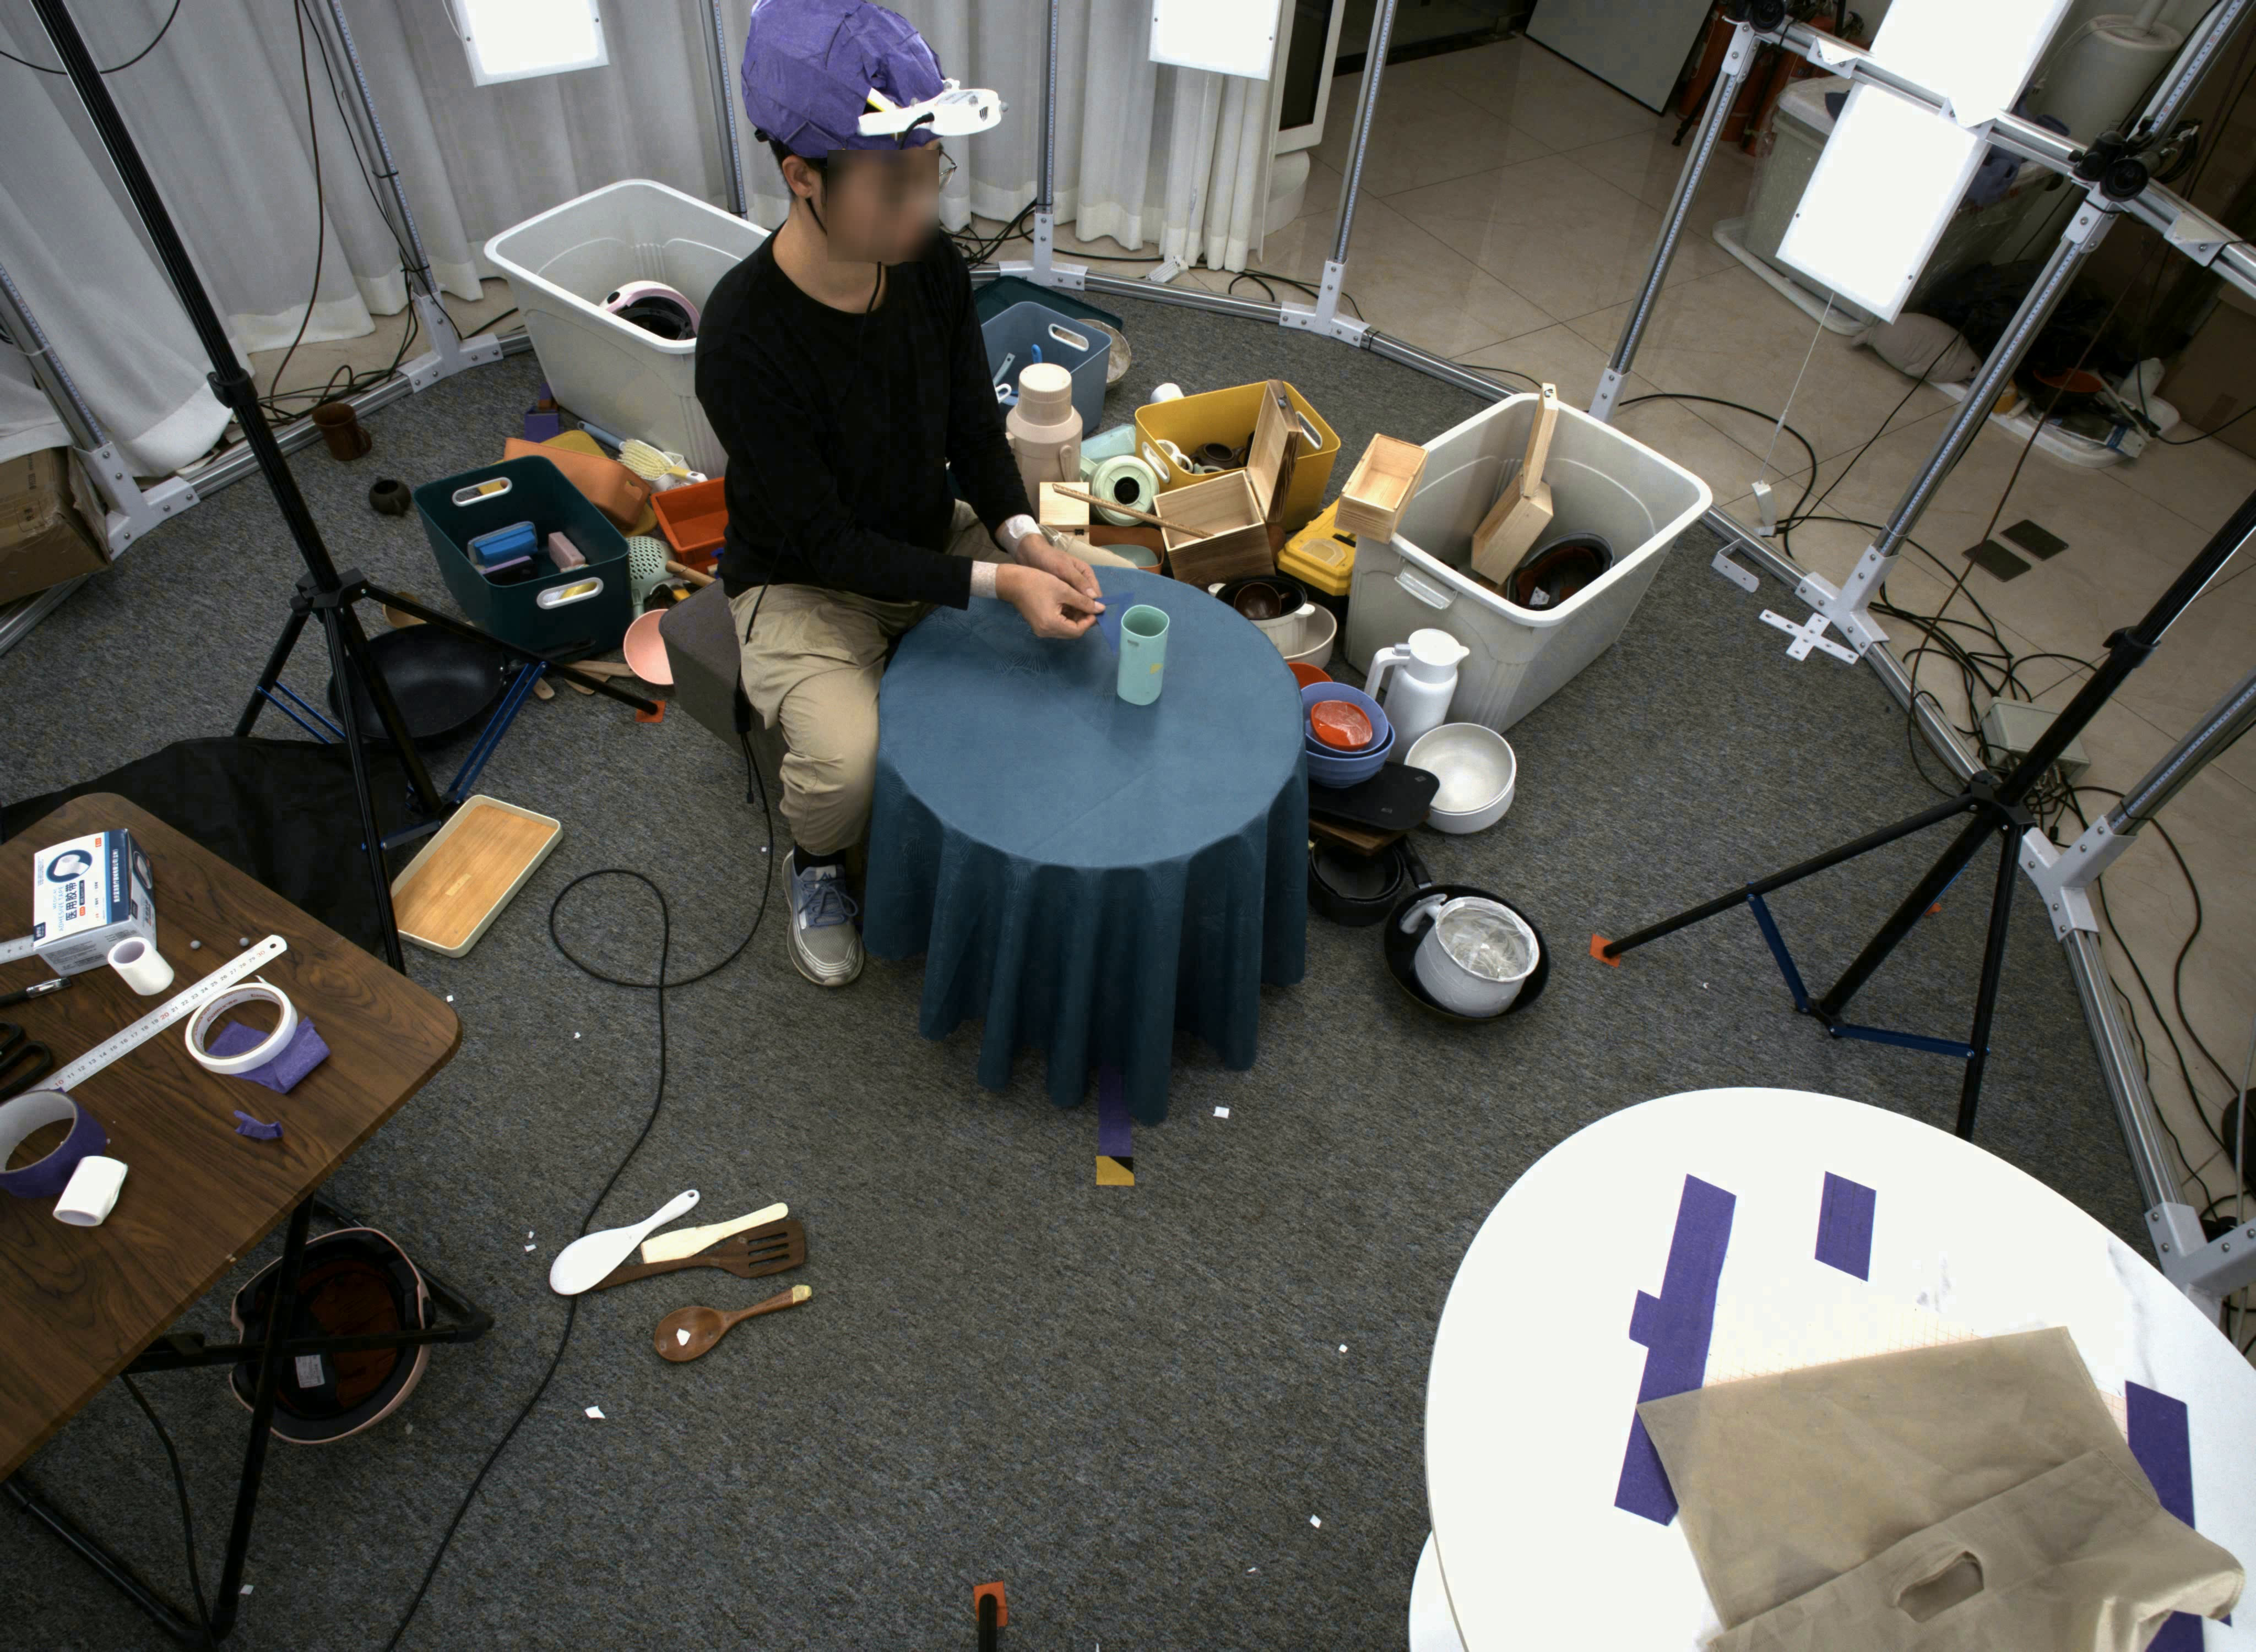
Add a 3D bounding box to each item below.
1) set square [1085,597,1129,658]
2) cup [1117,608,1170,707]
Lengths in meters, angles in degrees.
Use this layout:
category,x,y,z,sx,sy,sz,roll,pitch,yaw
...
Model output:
category,x,y,z,sx,sy,sz,roll,pitch,yaw
set square,-0.042,-0.285,1.803,0.061,0.006,0.135,14,51,8
cup,0.019,-0.236,1.796,0.066,0.129,0.068,2,50,-3
